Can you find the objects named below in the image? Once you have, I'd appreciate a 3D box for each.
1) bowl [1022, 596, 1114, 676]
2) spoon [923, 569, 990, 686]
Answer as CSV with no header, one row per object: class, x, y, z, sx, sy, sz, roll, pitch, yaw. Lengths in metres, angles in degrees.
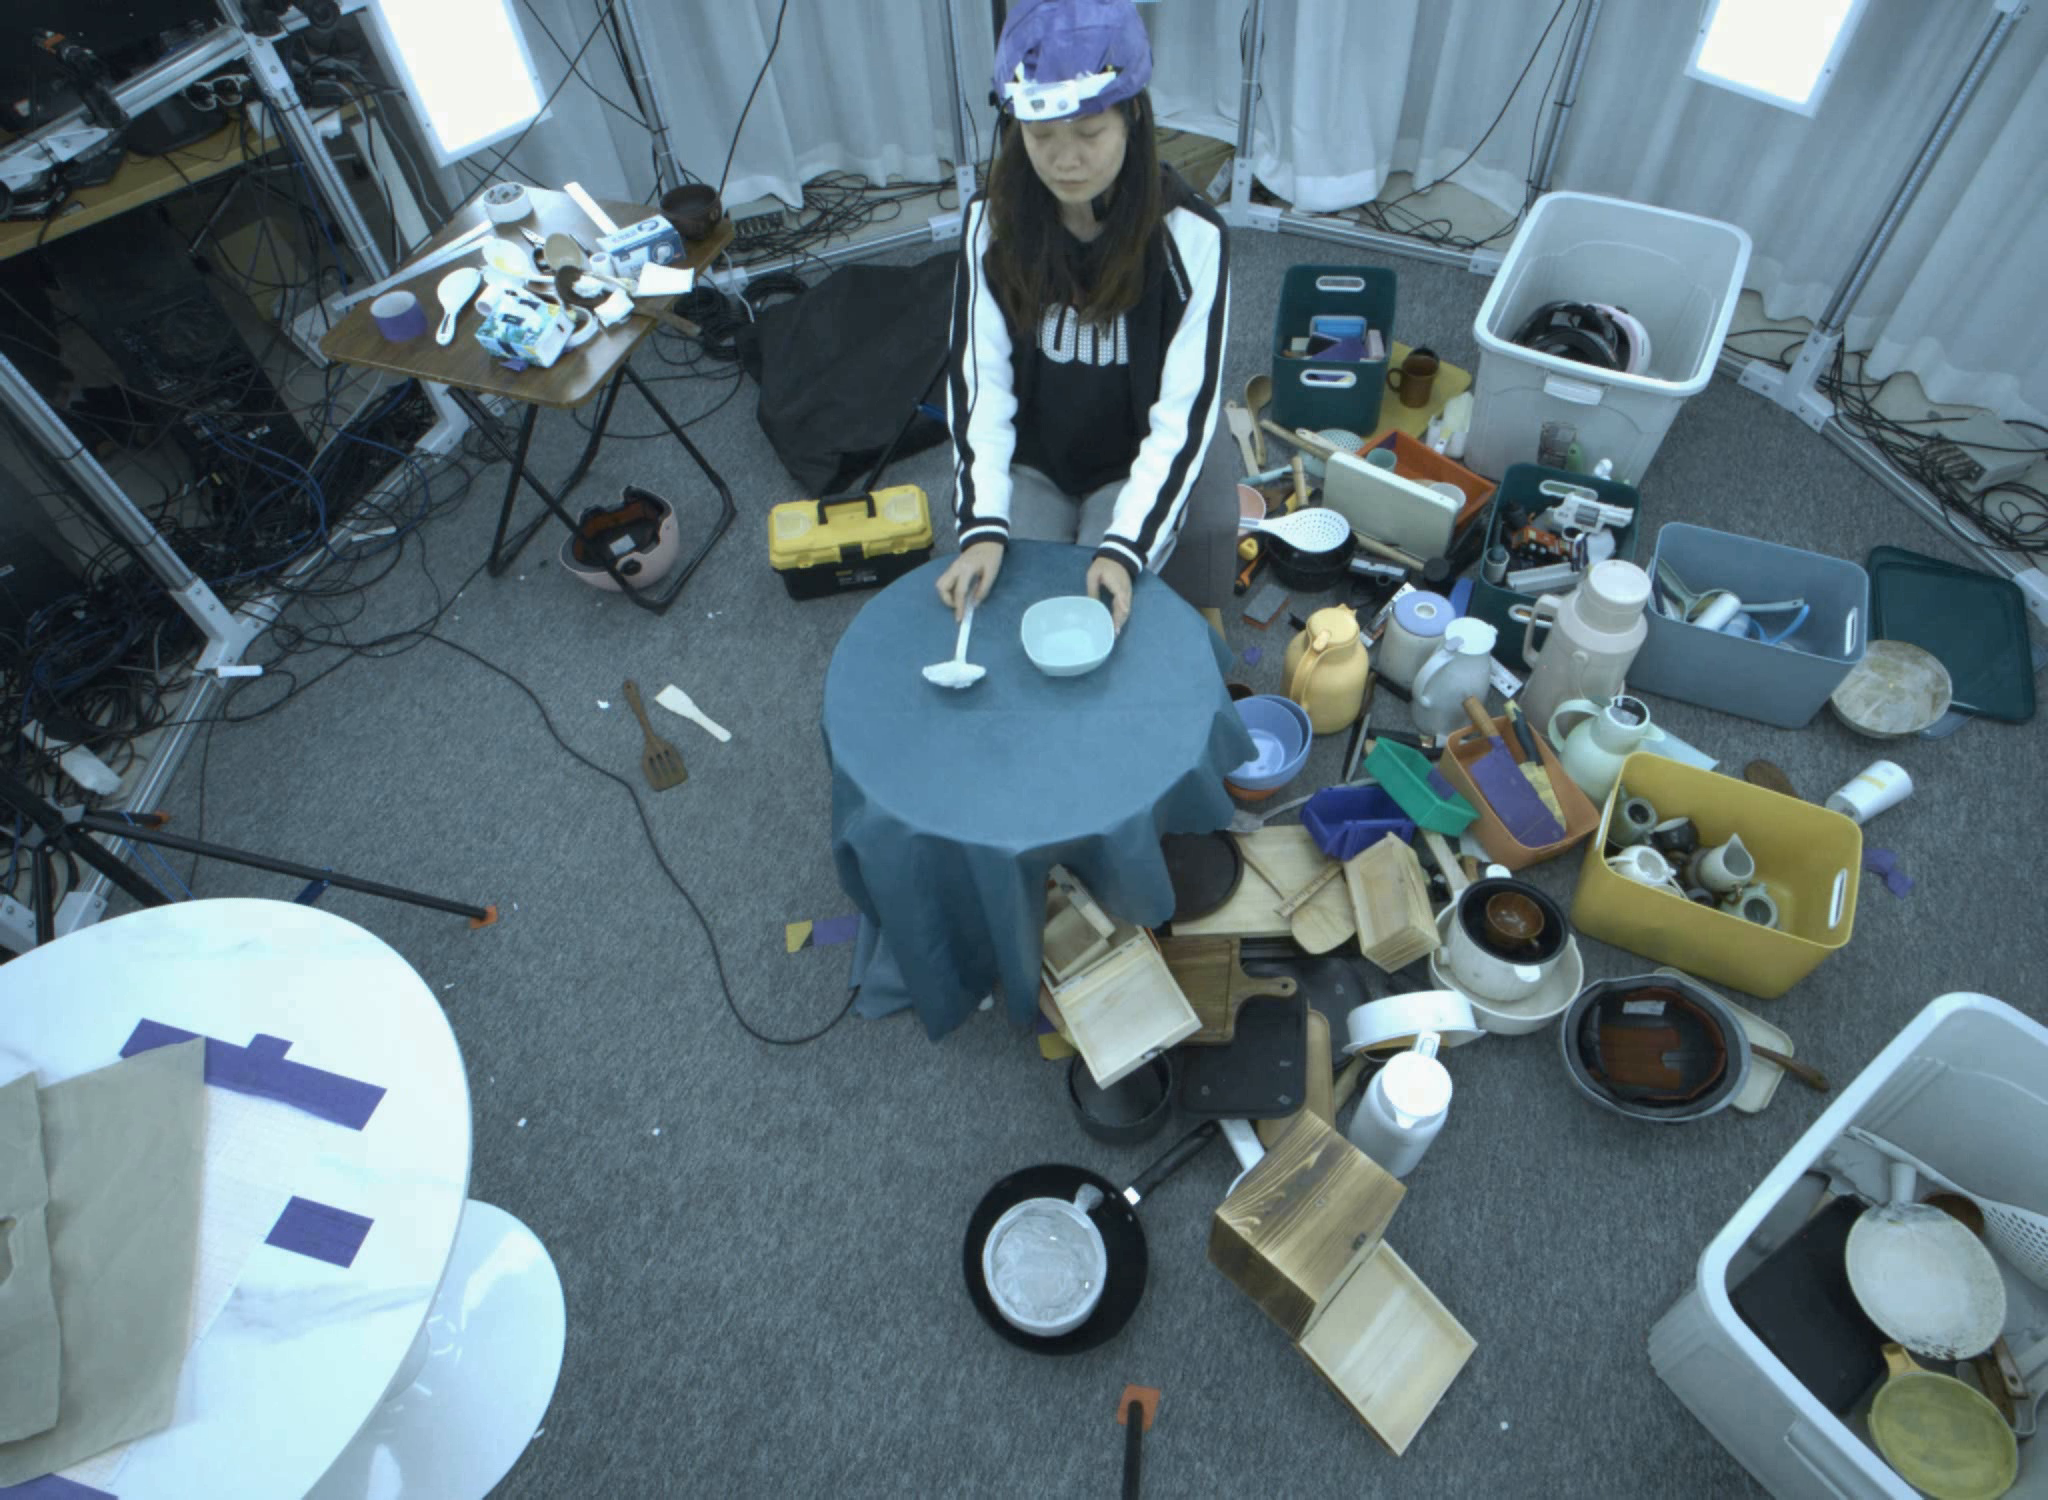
bowl,0.068,-0.164,1.868,0.151,0.059,0.150,-1,55,2
spoon,-0.086,-0.197,1.895,0.100,0.060,0.275,9,56,3
